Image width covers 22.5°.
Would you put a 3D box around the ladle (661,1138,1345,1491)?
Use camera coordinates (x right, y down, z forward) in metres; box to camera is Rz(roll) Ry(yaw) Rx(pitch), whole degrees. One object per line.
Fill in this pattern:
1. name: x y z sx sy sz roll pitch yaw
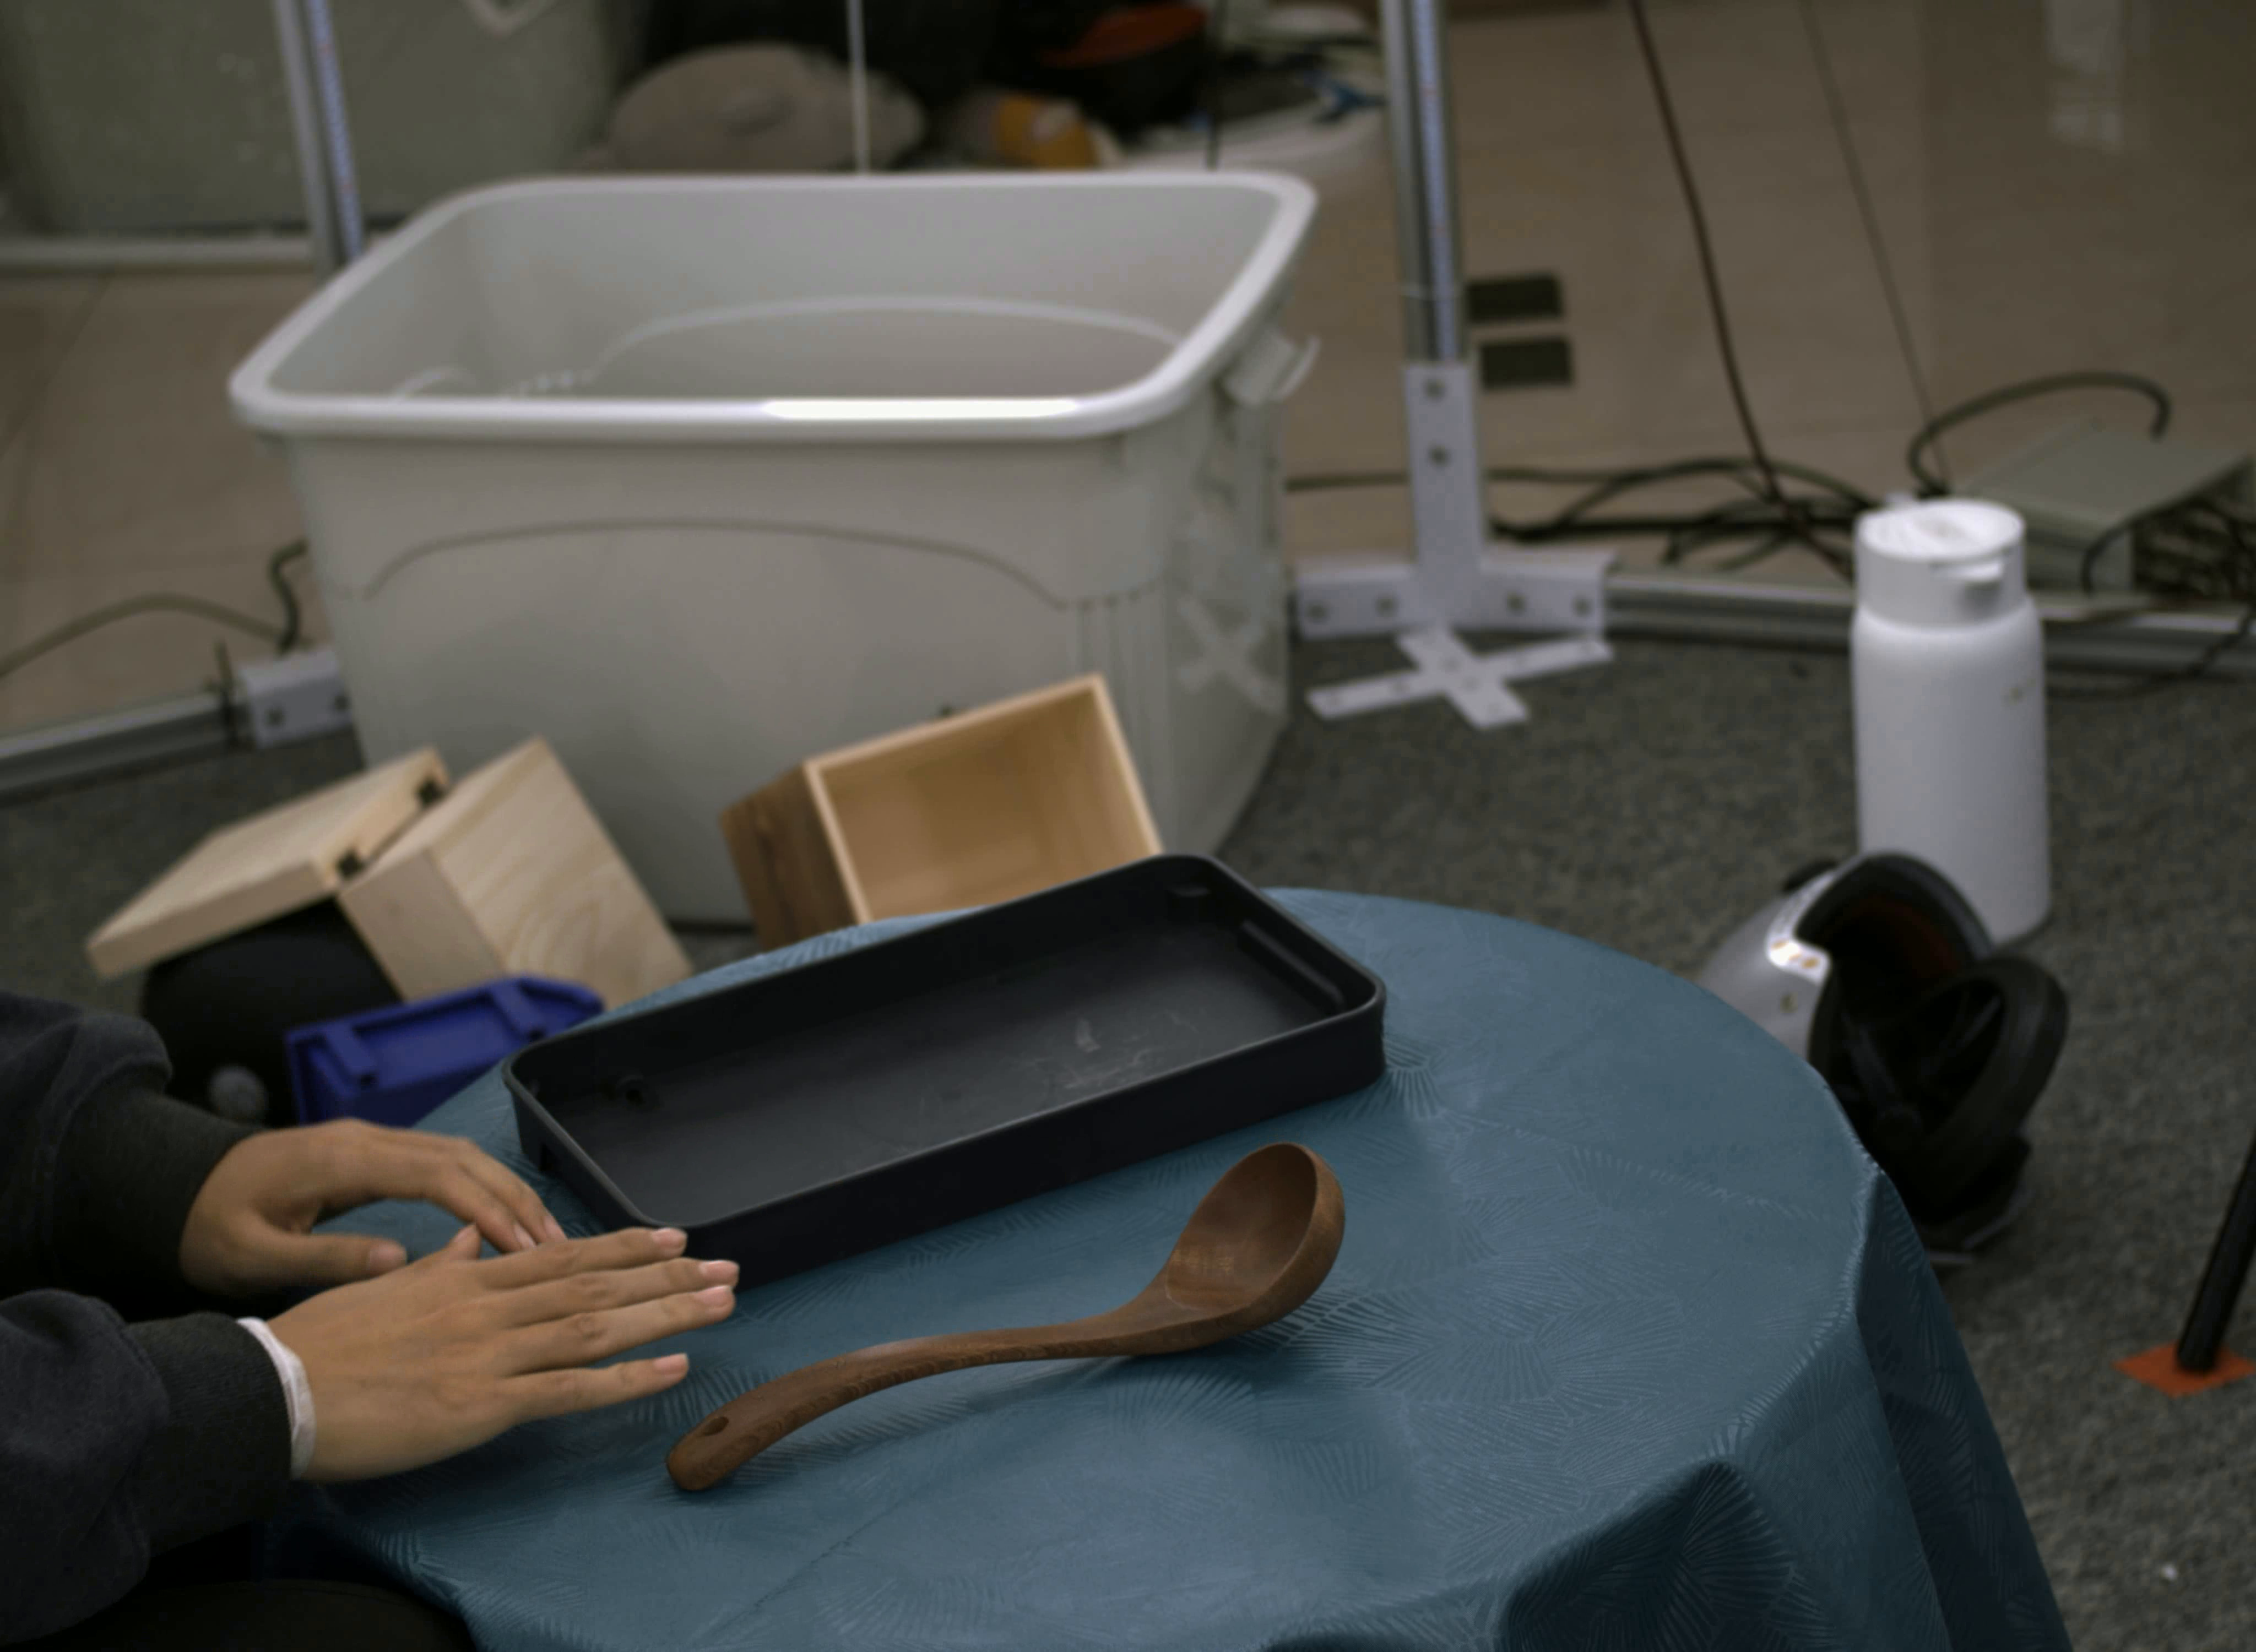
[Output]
1. ladle: -0.045 0.172 2.010 0.259 0.066 0.075 -14 21 -15

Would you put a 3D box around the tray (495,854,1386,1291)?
1. tray: -0.073 0.092 2.217 0.316 0.037 0.182 -15 27 -21
